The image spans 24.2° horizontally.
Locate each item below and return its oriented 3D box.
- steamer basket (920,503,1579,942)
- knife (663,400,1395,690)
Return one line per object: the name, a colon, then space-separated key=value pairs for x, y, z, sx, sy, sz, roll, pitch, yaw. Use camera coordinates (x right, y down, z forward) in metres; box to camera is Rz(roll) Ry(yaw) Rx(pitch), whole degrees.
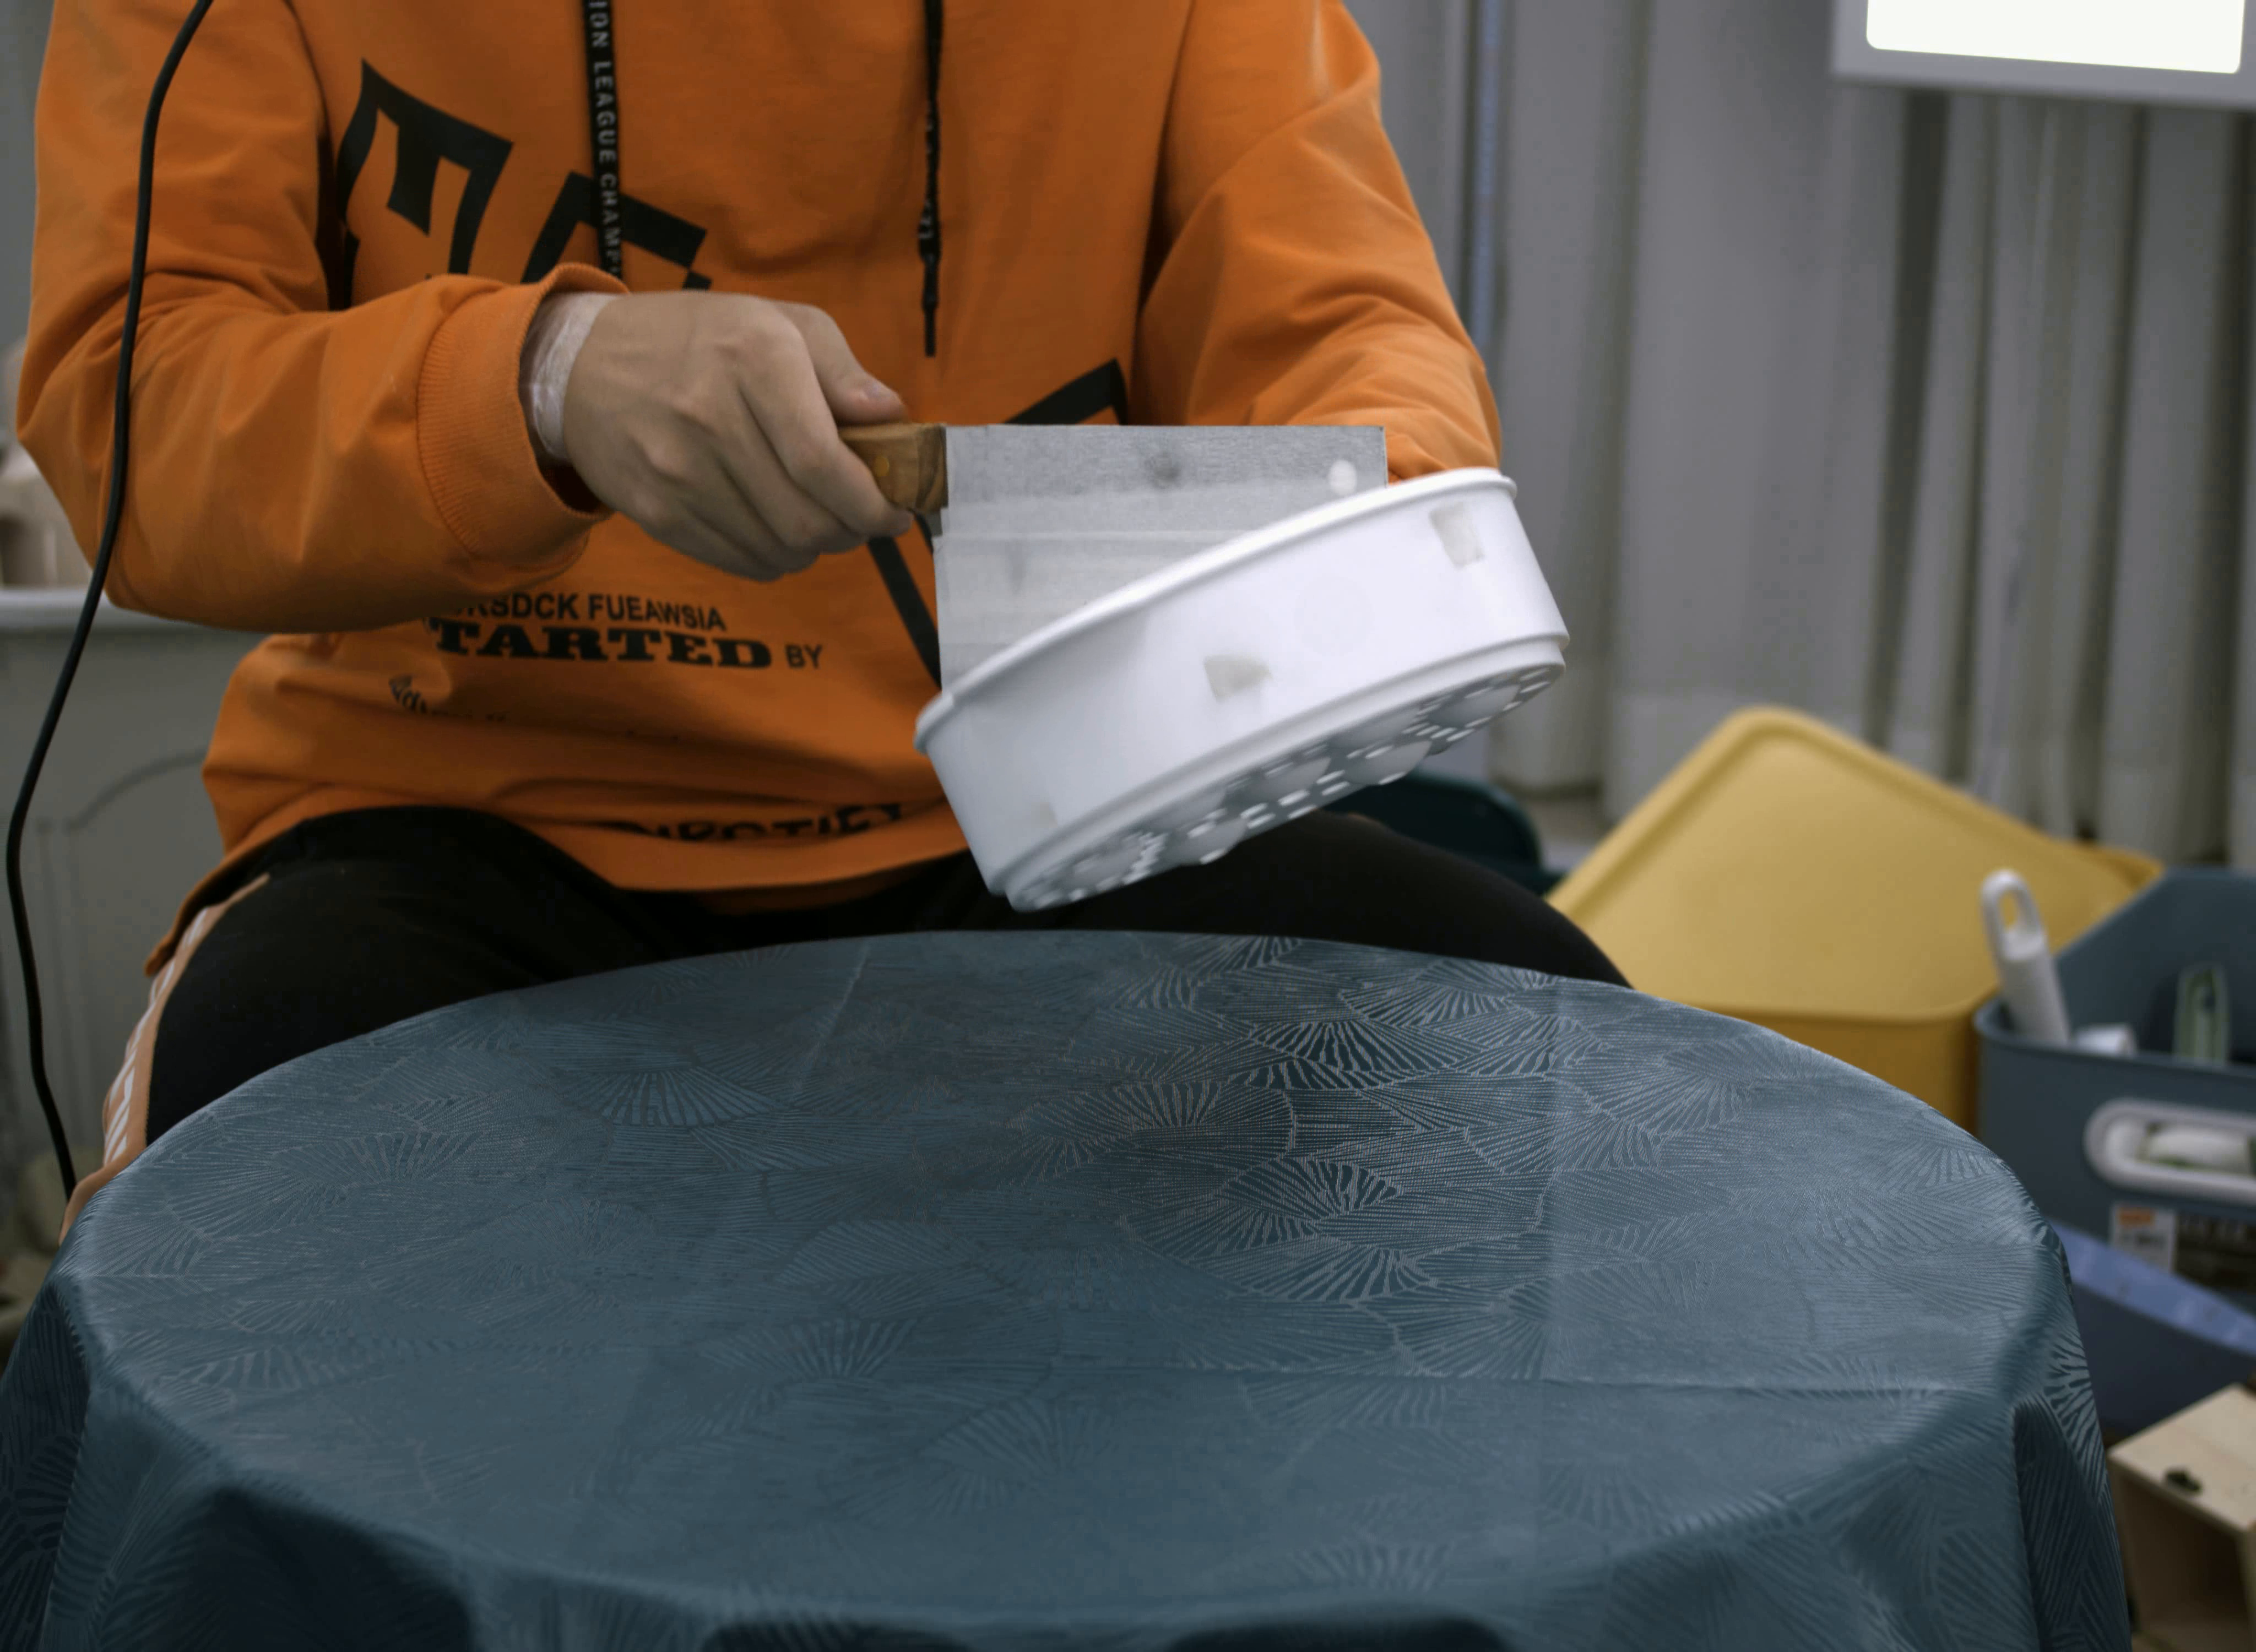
steamer basket: x=0.040 y=-0.028 z=1.601 sx=0.201 sy=0.069 sz=0.231 roll=-25 pitch=-2 yaw=31
knife: x=-0.035 y=-0.089 z=1.676 sx=0.302 sy=0.093 sz=0.021 roll=3 pitch=12 yaw=40
